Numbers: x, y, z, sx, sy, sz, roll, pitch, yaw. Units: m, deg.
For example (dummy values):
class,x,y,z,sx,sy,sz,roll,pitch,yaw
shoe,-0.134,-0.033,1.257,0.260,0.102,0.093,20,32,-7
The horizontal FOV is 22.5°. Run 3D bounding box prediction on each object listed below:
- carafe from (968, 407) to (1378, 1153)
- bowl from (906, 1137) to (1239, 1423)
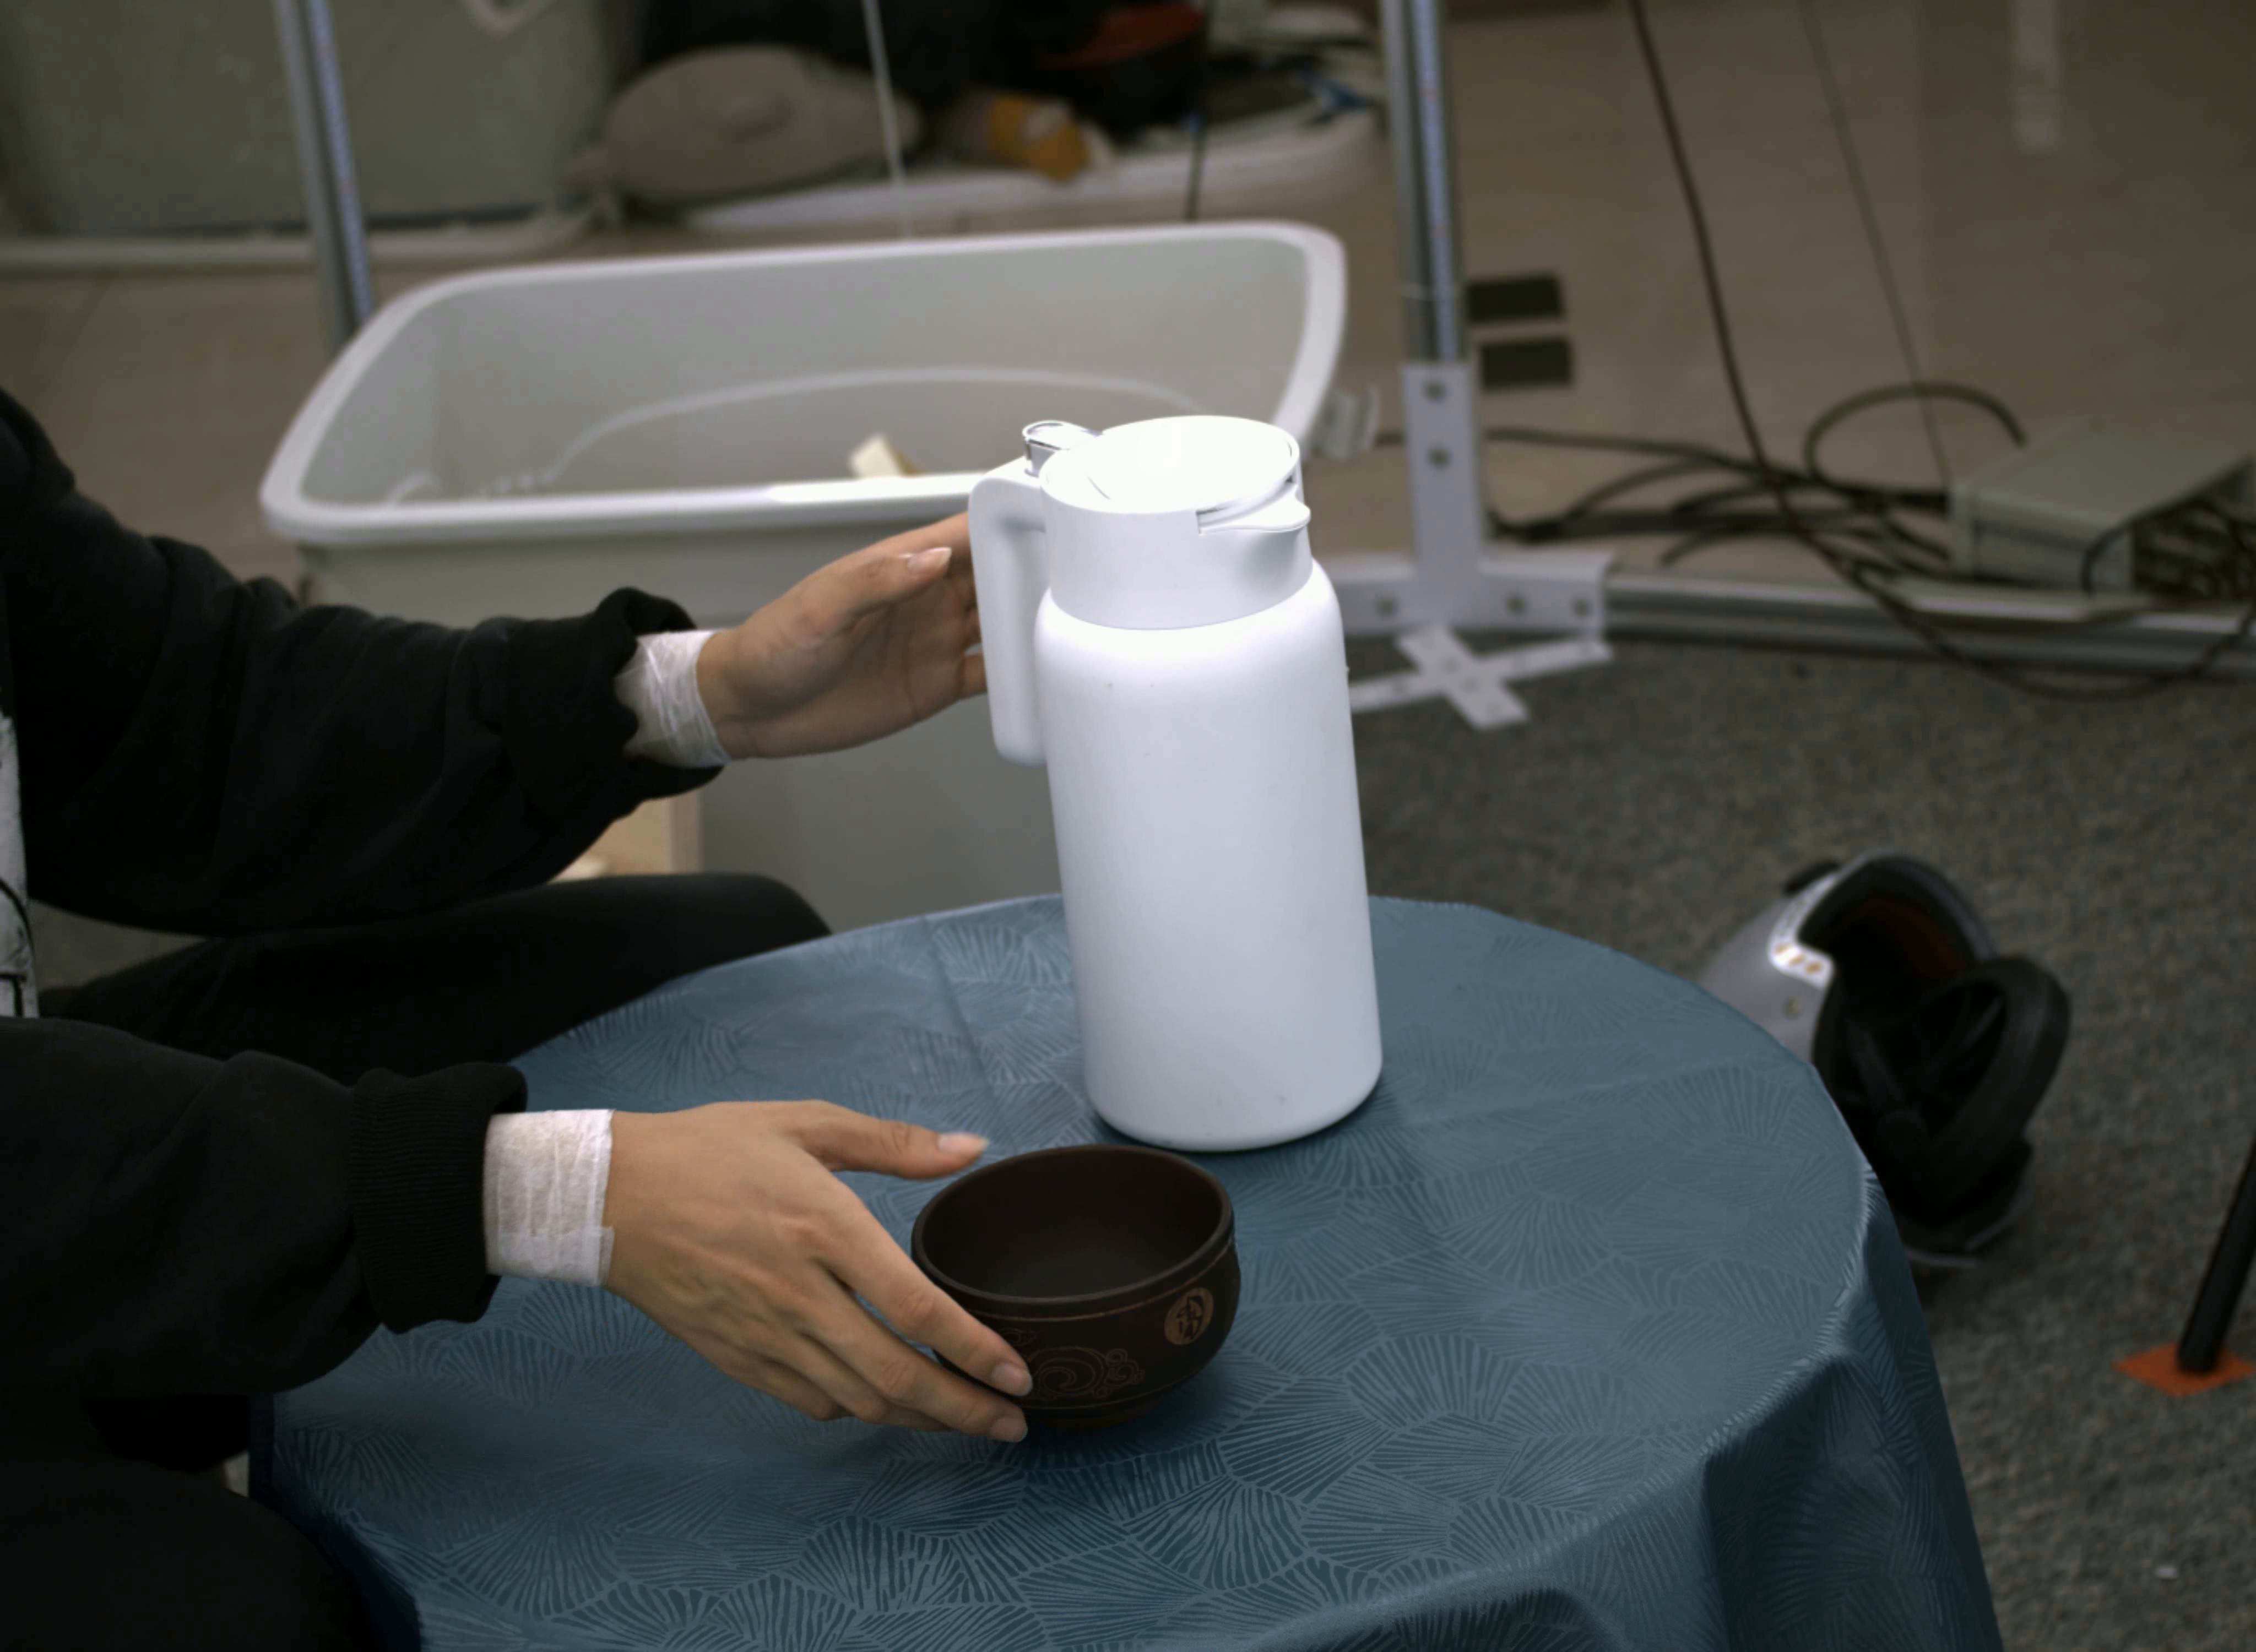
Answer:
class,x,y,z,sx,sy,sz,roll,pitch,yaw
carafe,0.015,-0.020,2.166,0.171,0.273,0.122,18,37,41
bowl,-0.018,0.167,2.005,0.118,0.071,0.116,-4,26,2
